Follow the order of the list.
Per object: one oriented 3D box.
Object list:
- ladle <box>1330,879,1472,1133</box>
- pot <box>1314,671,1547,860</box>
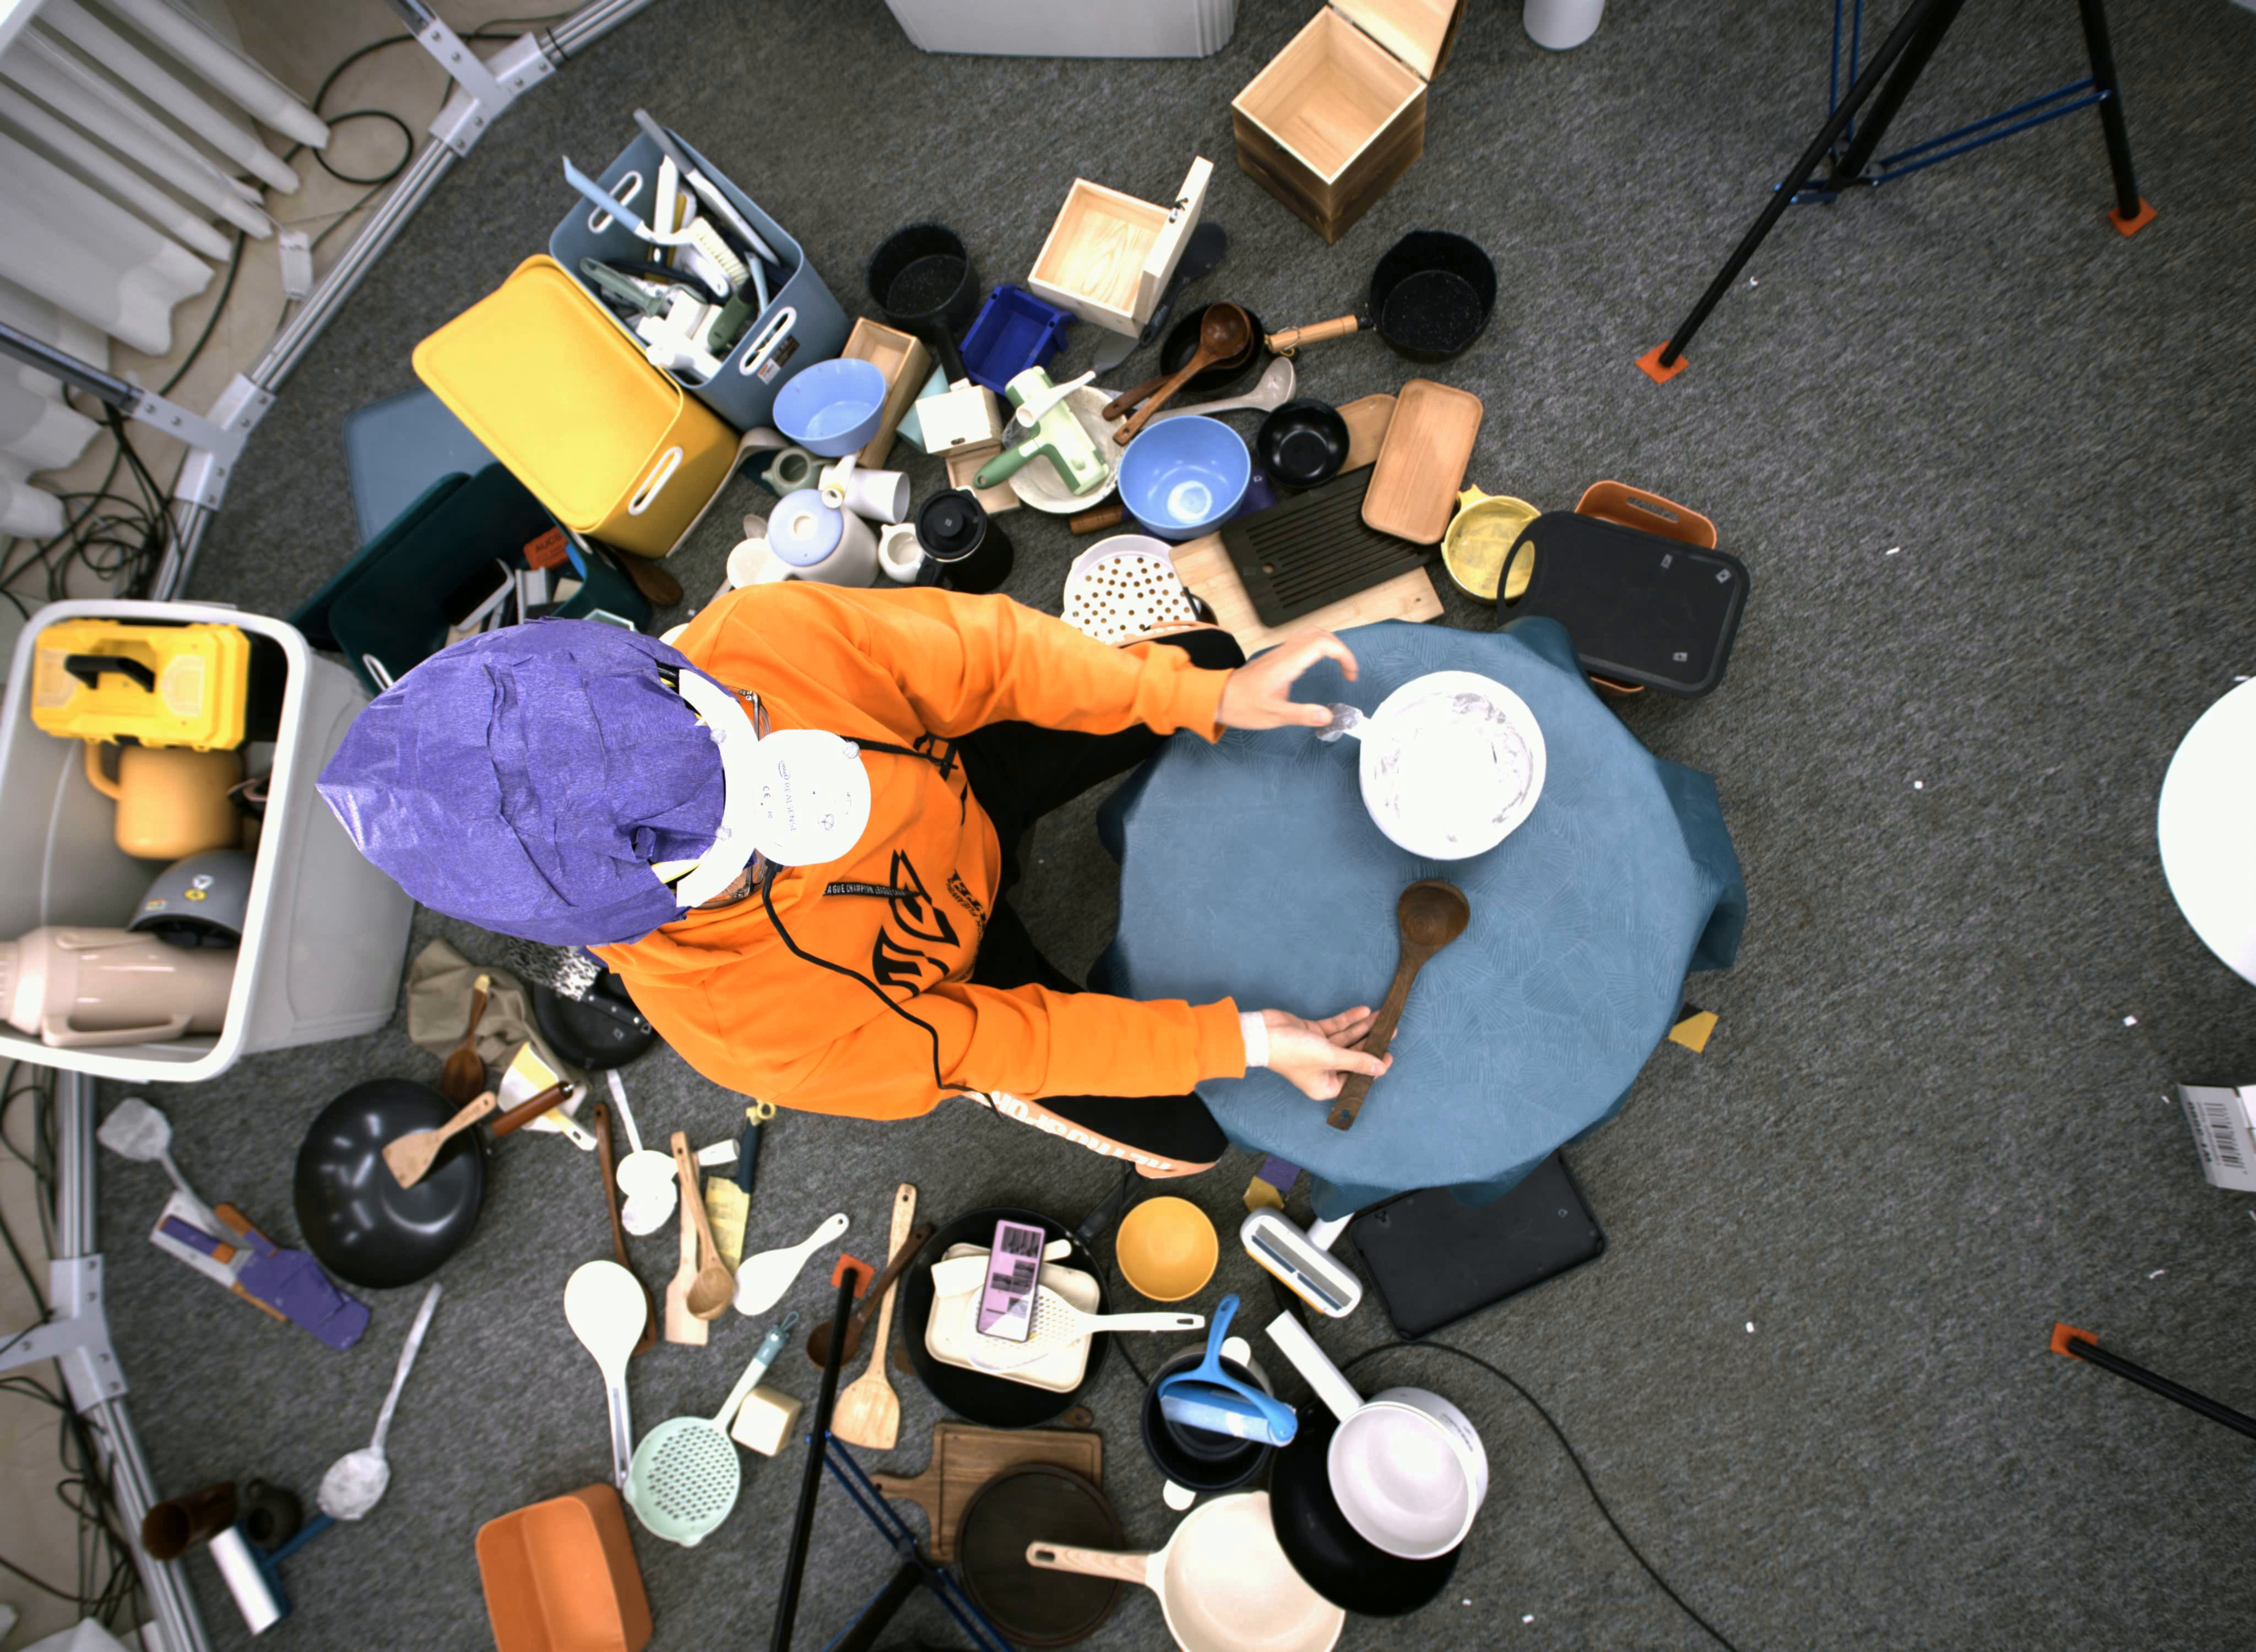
[{"bbox_3d":[0.271,0.182,1.410,0.076,0.072,0.272,24,84,13],"label":"ladle"},{"bbox_3d":[0.298,-0.069,1.393,0.233,0.137,0.178,23,89,11],"label":"pot"}]
